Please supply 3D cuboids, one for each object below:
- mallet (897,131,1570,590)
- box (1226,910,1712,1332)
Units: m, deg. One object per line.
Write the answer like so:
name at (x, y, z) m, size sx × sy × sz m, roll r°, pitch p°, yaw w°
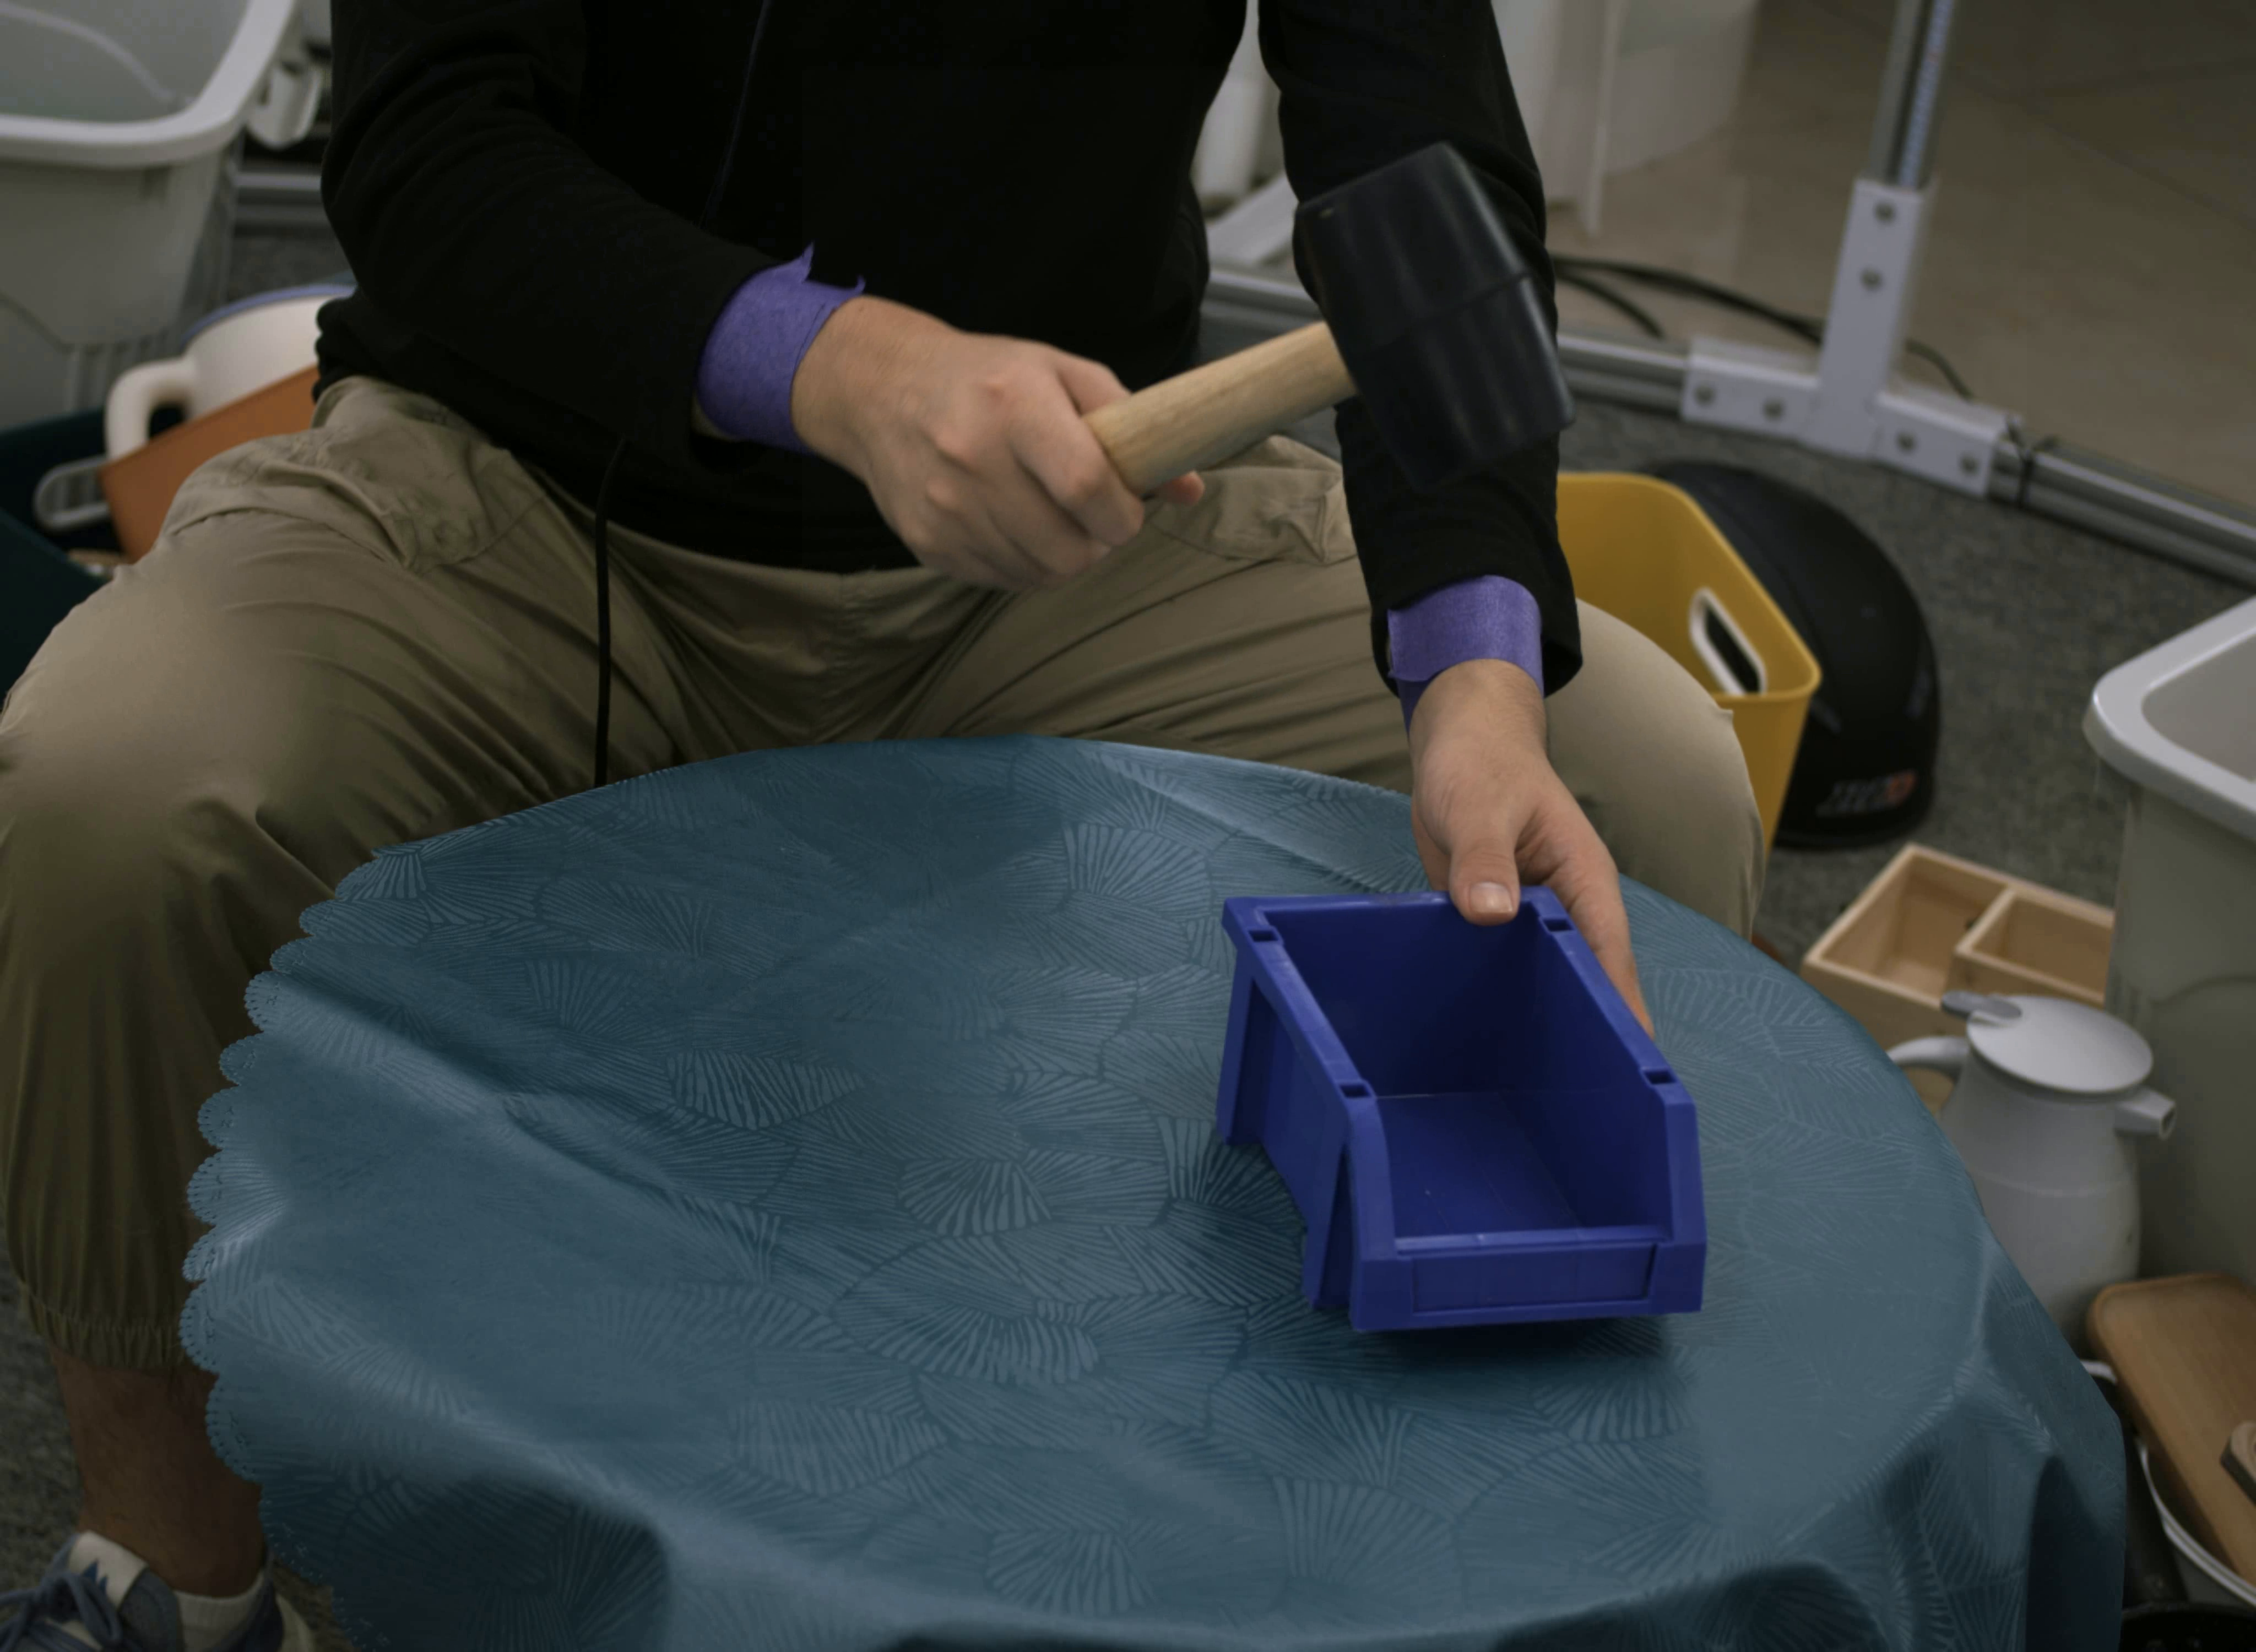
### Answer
mallet at (0.025, -0.137, 1.774) m, size 0.064 × 0.102 × 0.340 m, roll -25°, pitch 2°, yaw -31°
box at (0.113, 0.103, 1.781) m, size 0.124 × 0.081 × 0.181 m, roll -1°, pitch 24°, yaw -15°
